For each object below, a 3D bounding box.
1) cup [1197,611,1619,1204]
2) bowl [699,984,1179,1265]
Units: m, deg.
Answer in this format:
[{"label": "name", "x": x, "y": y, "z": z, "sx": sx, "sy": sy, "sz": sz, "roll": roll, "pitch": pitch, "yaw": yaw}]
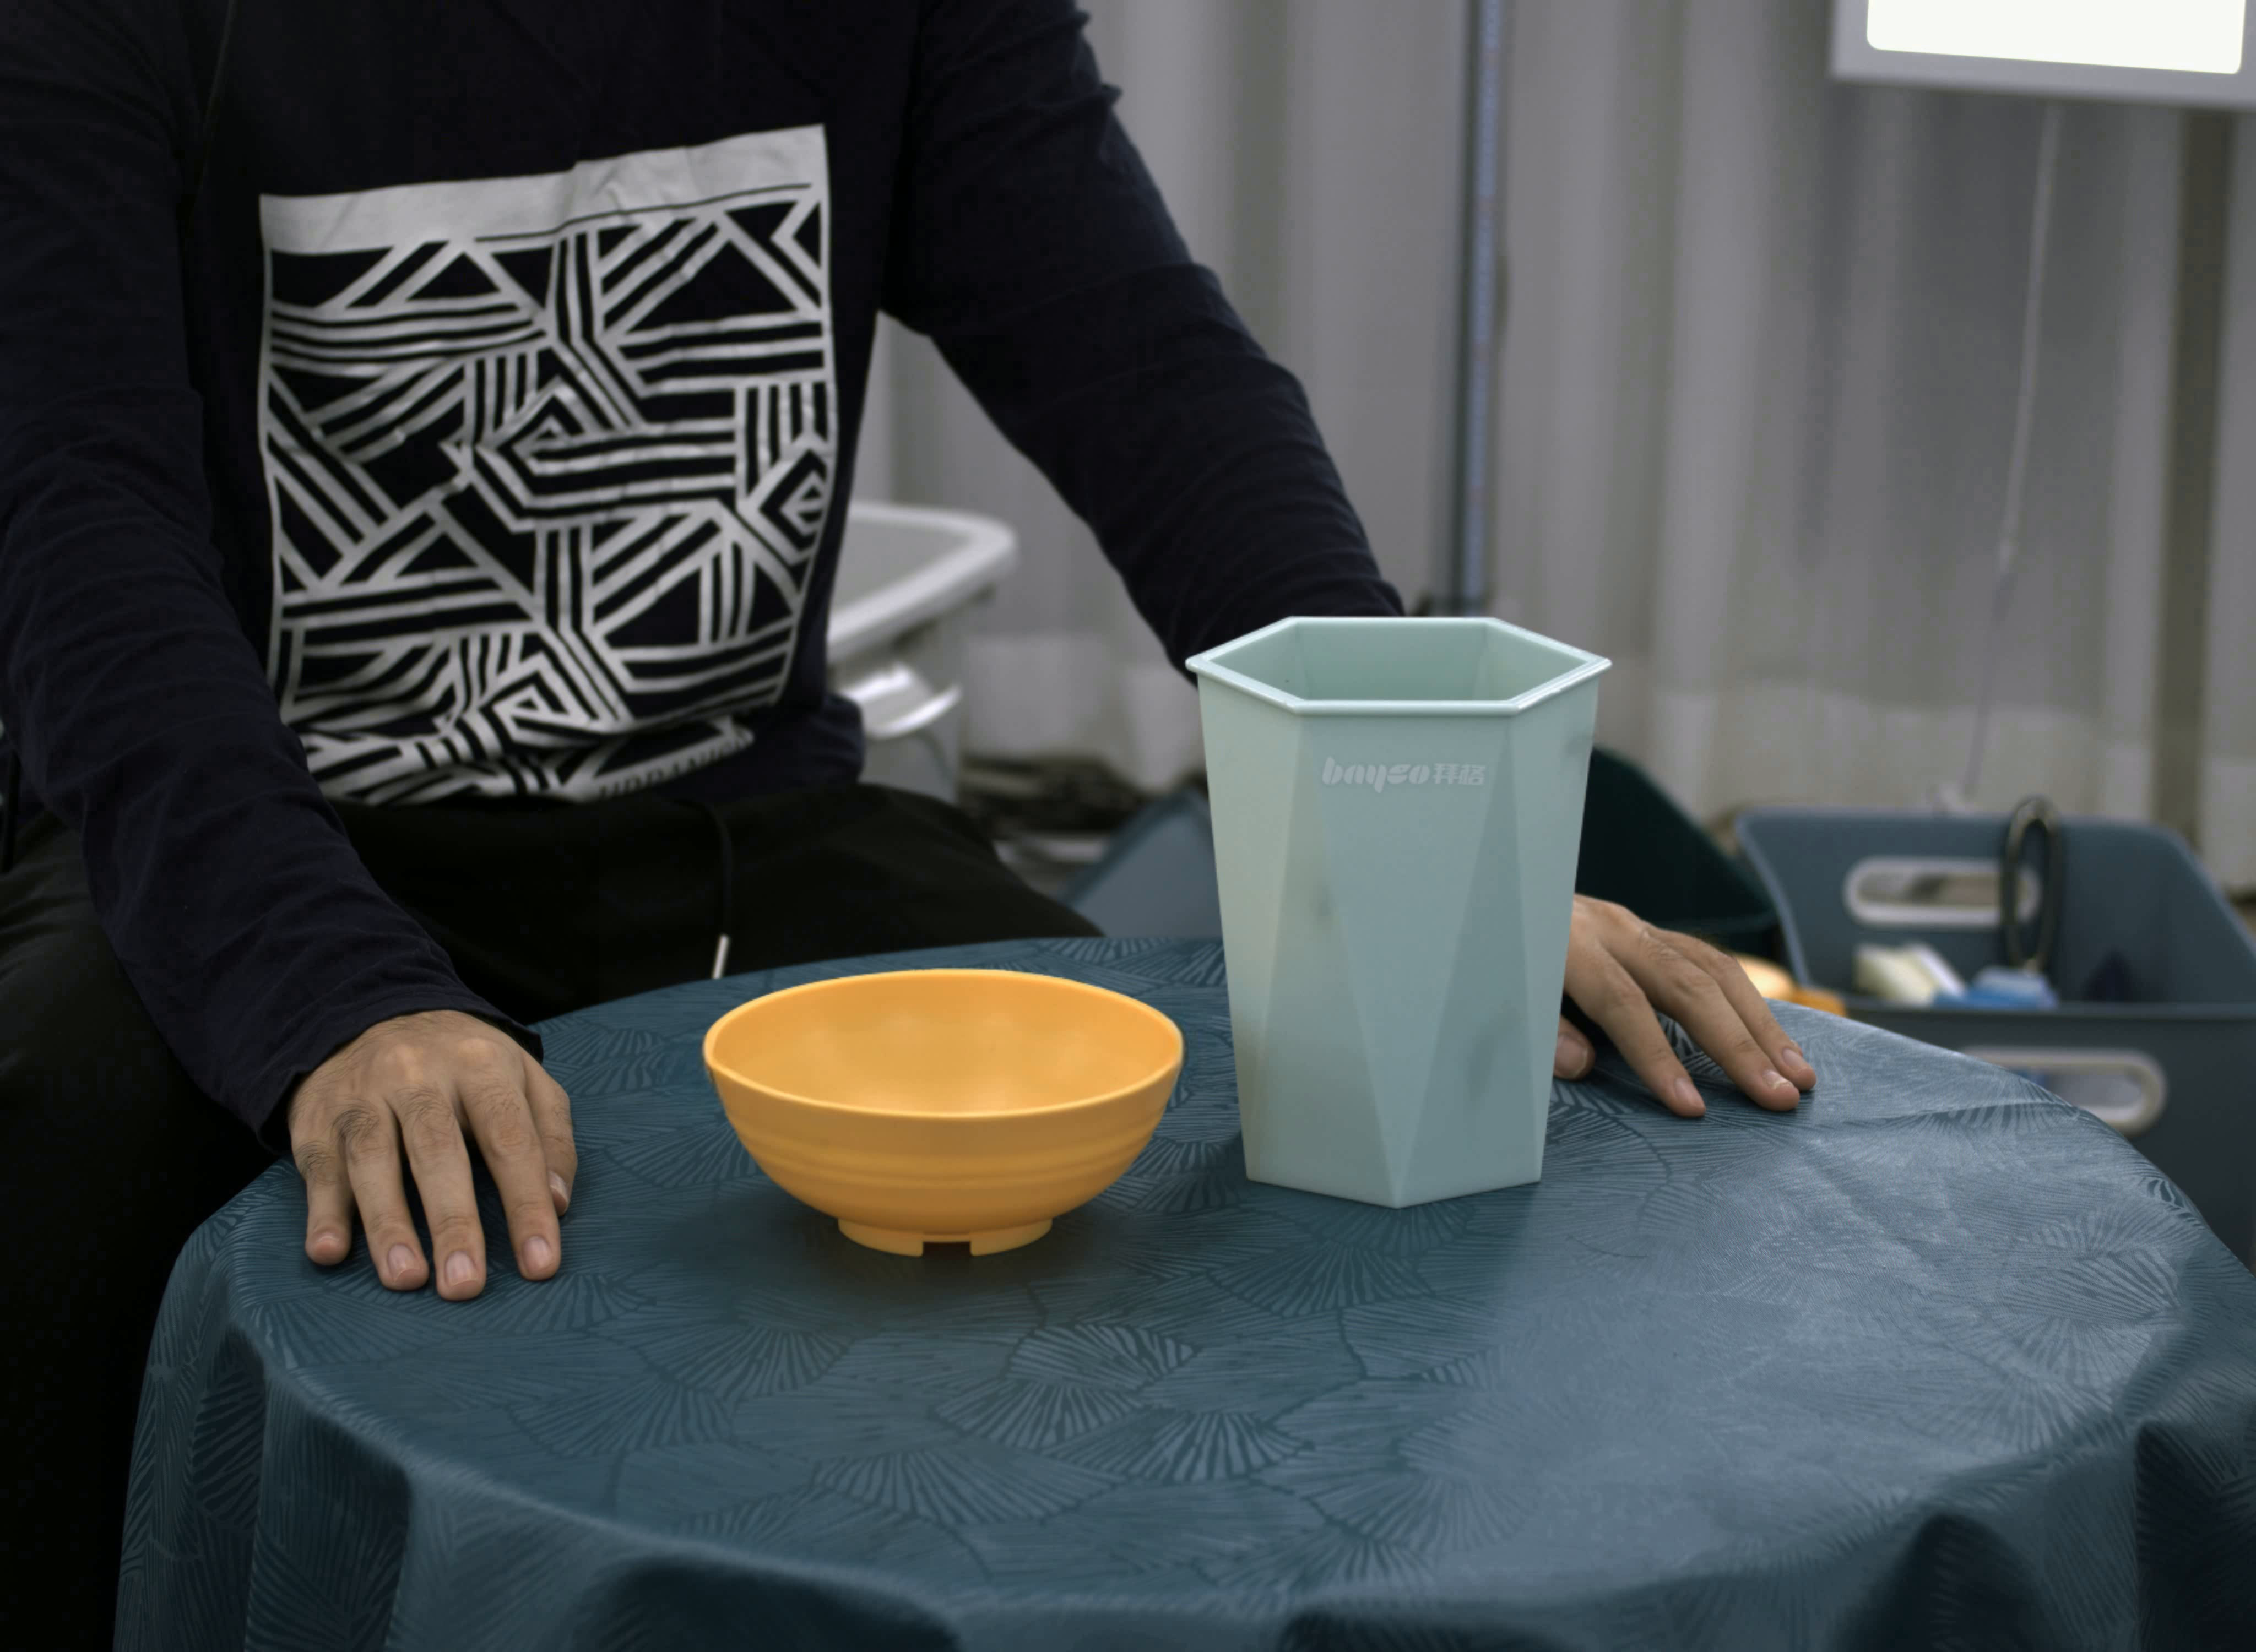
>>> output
[{"label": "cup", "x": 0.085, "y": 0.025, "z": 1.638, "sx": 0.131, "sy": 0.164, "sz": 0.114, "roll": 1, "pitch": 15, "yaw": -2}, {"label": "bowl", "x": -0.057, "y": 0.094, "z": 1.589, "sx": 0.145, "sy": 0.060, "sz": 0.144, "roll": 1, "pitch": 13, "yaw": 0}]
